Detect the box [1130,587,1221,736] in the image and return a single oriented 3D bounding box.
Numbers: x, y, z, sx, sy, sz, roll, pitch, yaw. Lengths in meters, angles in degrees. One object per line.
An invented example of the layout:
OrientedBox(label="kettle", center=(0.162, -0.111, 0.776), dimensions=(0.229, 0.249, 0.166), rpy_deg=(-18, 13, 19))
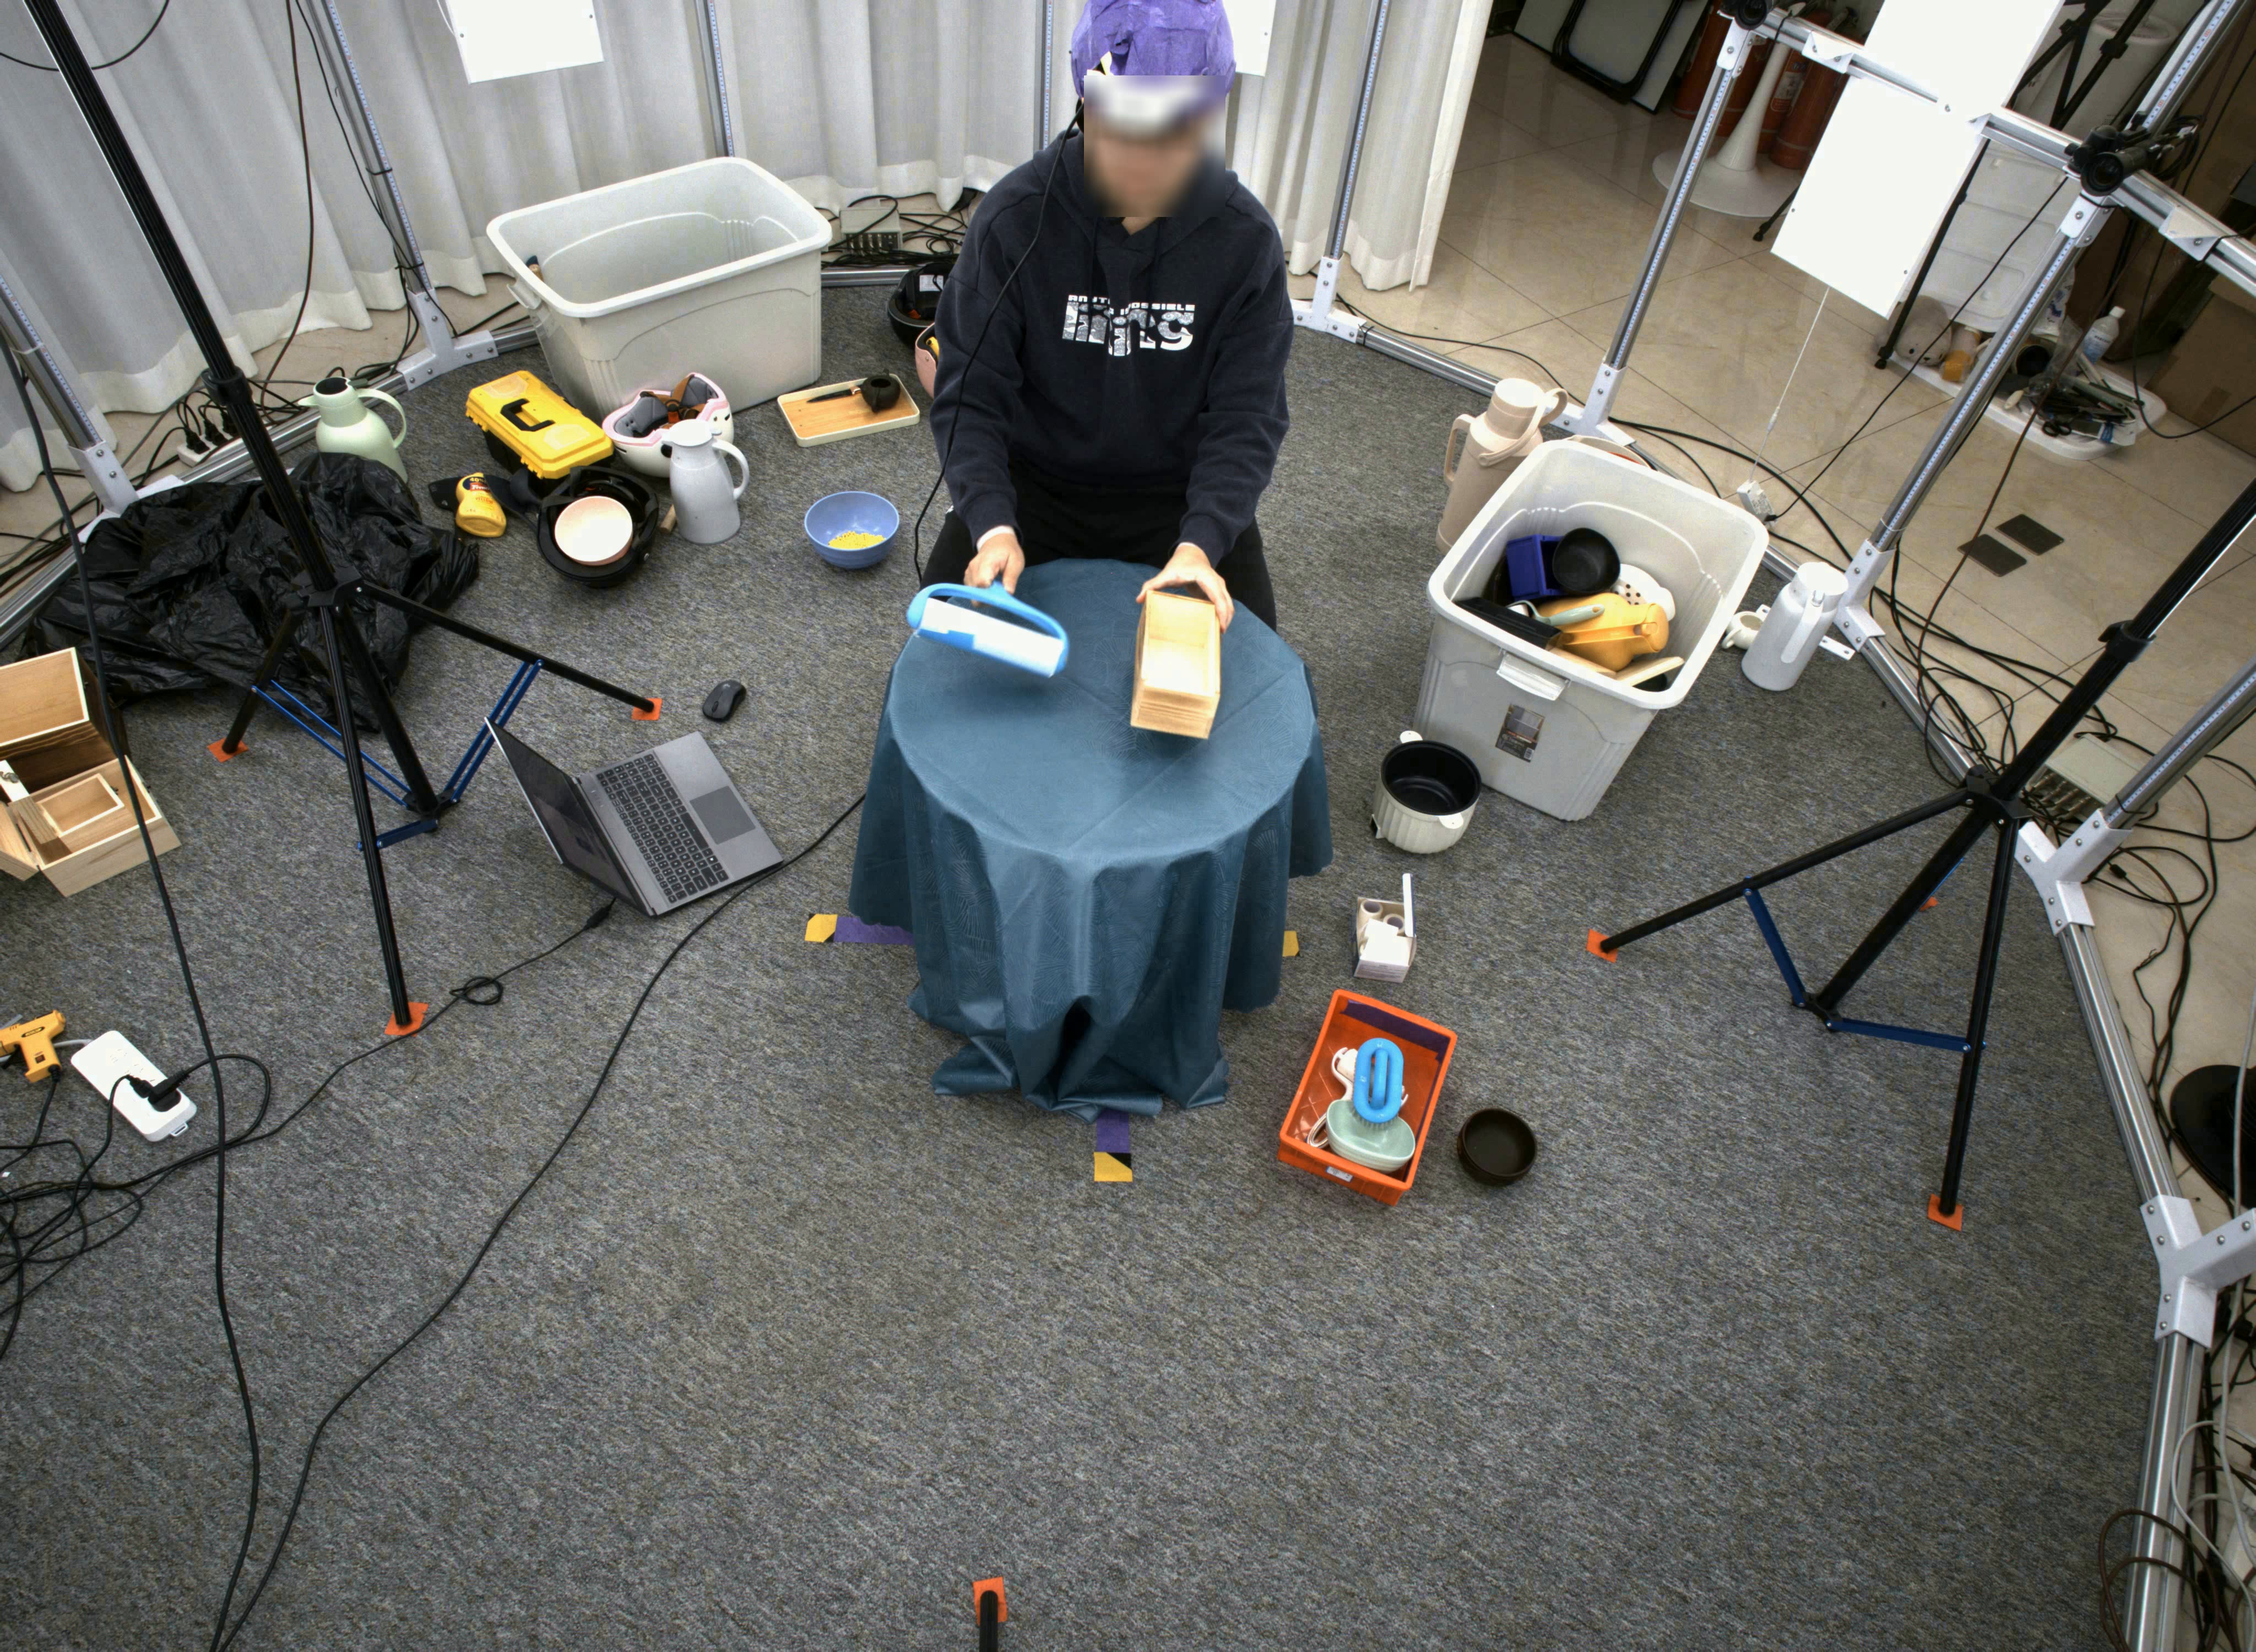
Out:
OrientedBox(label="box", center=(0.066, -0.227, 1.754), dimensions=(0.107, 0.078, 0.216), rpy_deg=(10, 41, -6))

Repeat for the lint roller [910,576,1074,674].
OrientedBox(label="lint roller", center=(-0.186, -0.305, 1.797), dimensions=(0.227, 0.066, 0.185), rpy_deg=(12, 47, -15))
